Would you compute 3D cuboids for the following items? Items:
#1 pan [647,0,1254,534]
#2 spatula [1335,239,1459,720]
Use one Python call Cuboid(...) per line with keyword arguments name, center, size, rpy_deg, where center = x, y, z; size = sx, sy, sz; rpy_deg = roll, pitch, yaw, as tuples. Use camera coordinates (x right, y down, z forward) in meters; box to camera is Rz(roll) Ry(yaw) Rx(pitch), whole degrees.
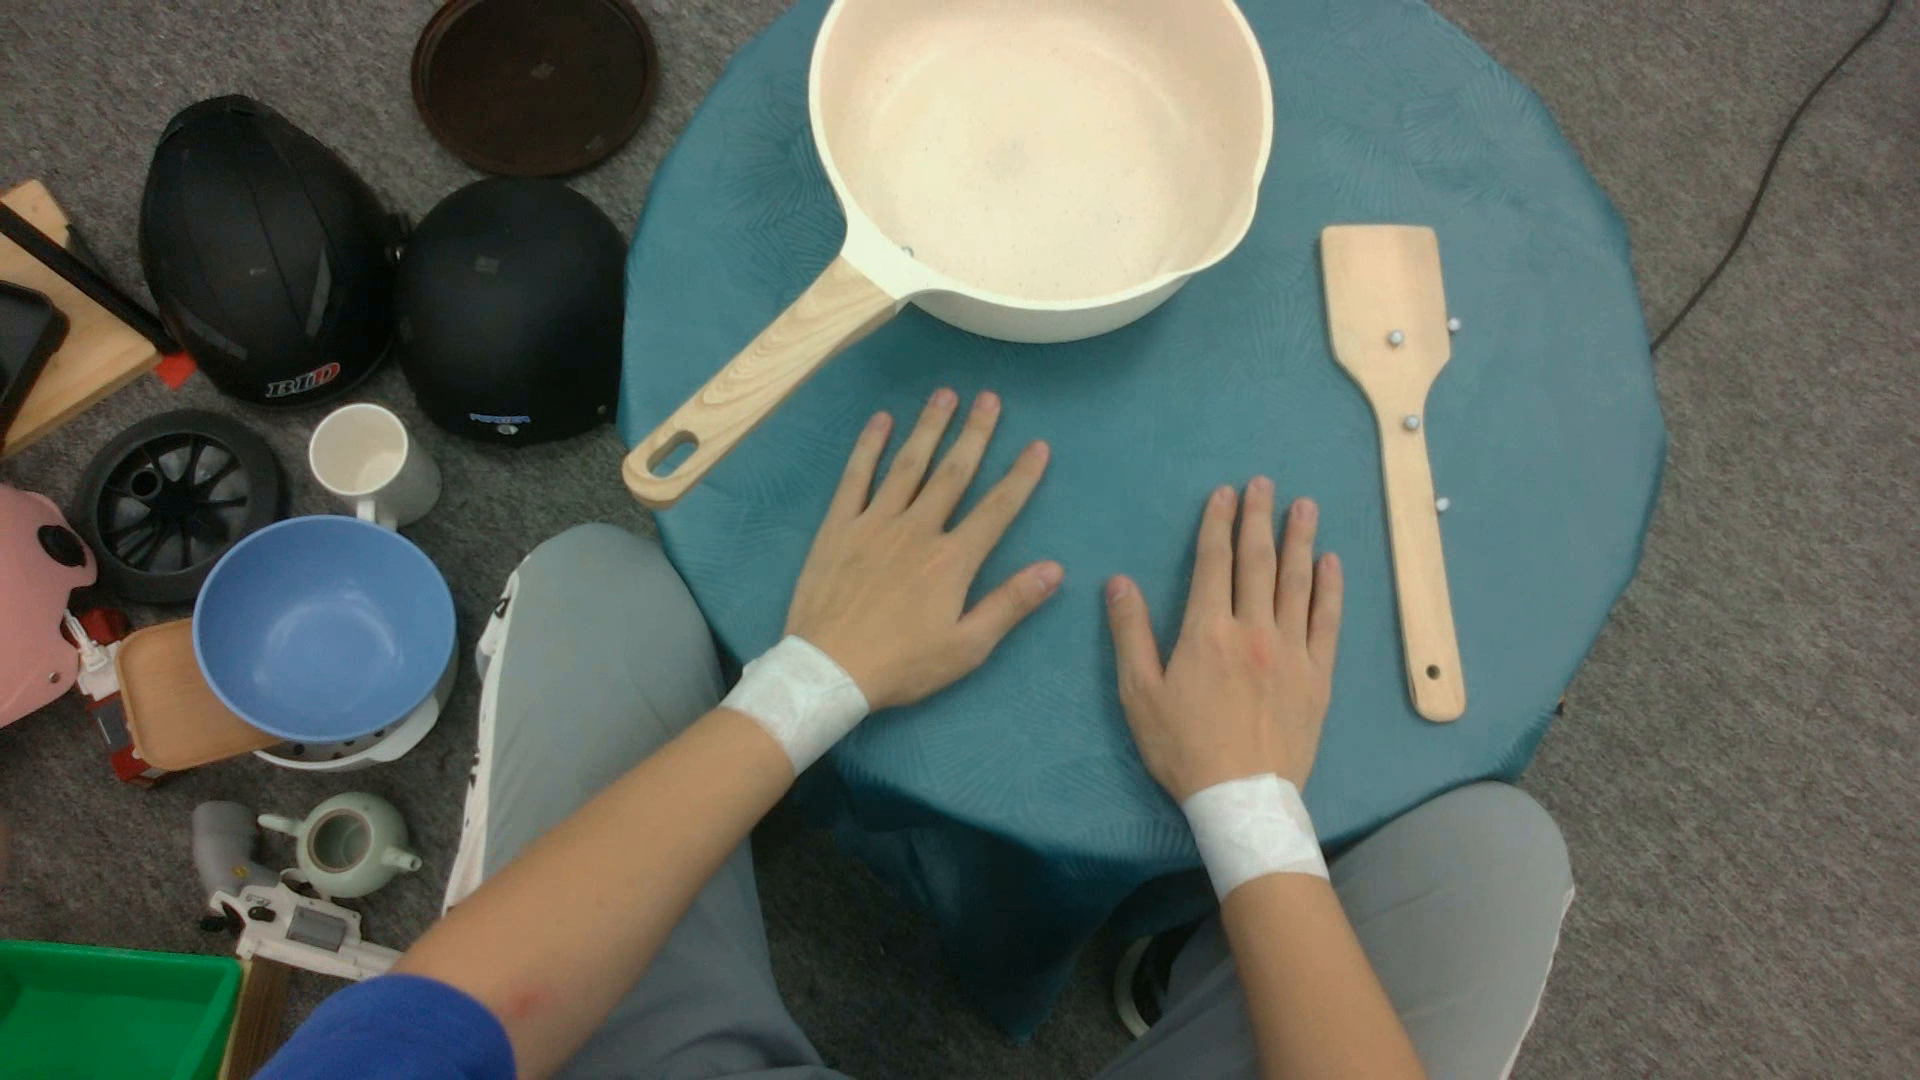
Cuboid(name="pan", center=(-0.019, -0.162, 0.767), size=(0.263, 0.101, 0.436), rpy_deg=(37, 75, 7))
Cuboid(name="spatula", center=(0.259, -0.042, 0.787), size=(0.072, 0.010, 0.294), rpy_deg=(3, 71, -4))
